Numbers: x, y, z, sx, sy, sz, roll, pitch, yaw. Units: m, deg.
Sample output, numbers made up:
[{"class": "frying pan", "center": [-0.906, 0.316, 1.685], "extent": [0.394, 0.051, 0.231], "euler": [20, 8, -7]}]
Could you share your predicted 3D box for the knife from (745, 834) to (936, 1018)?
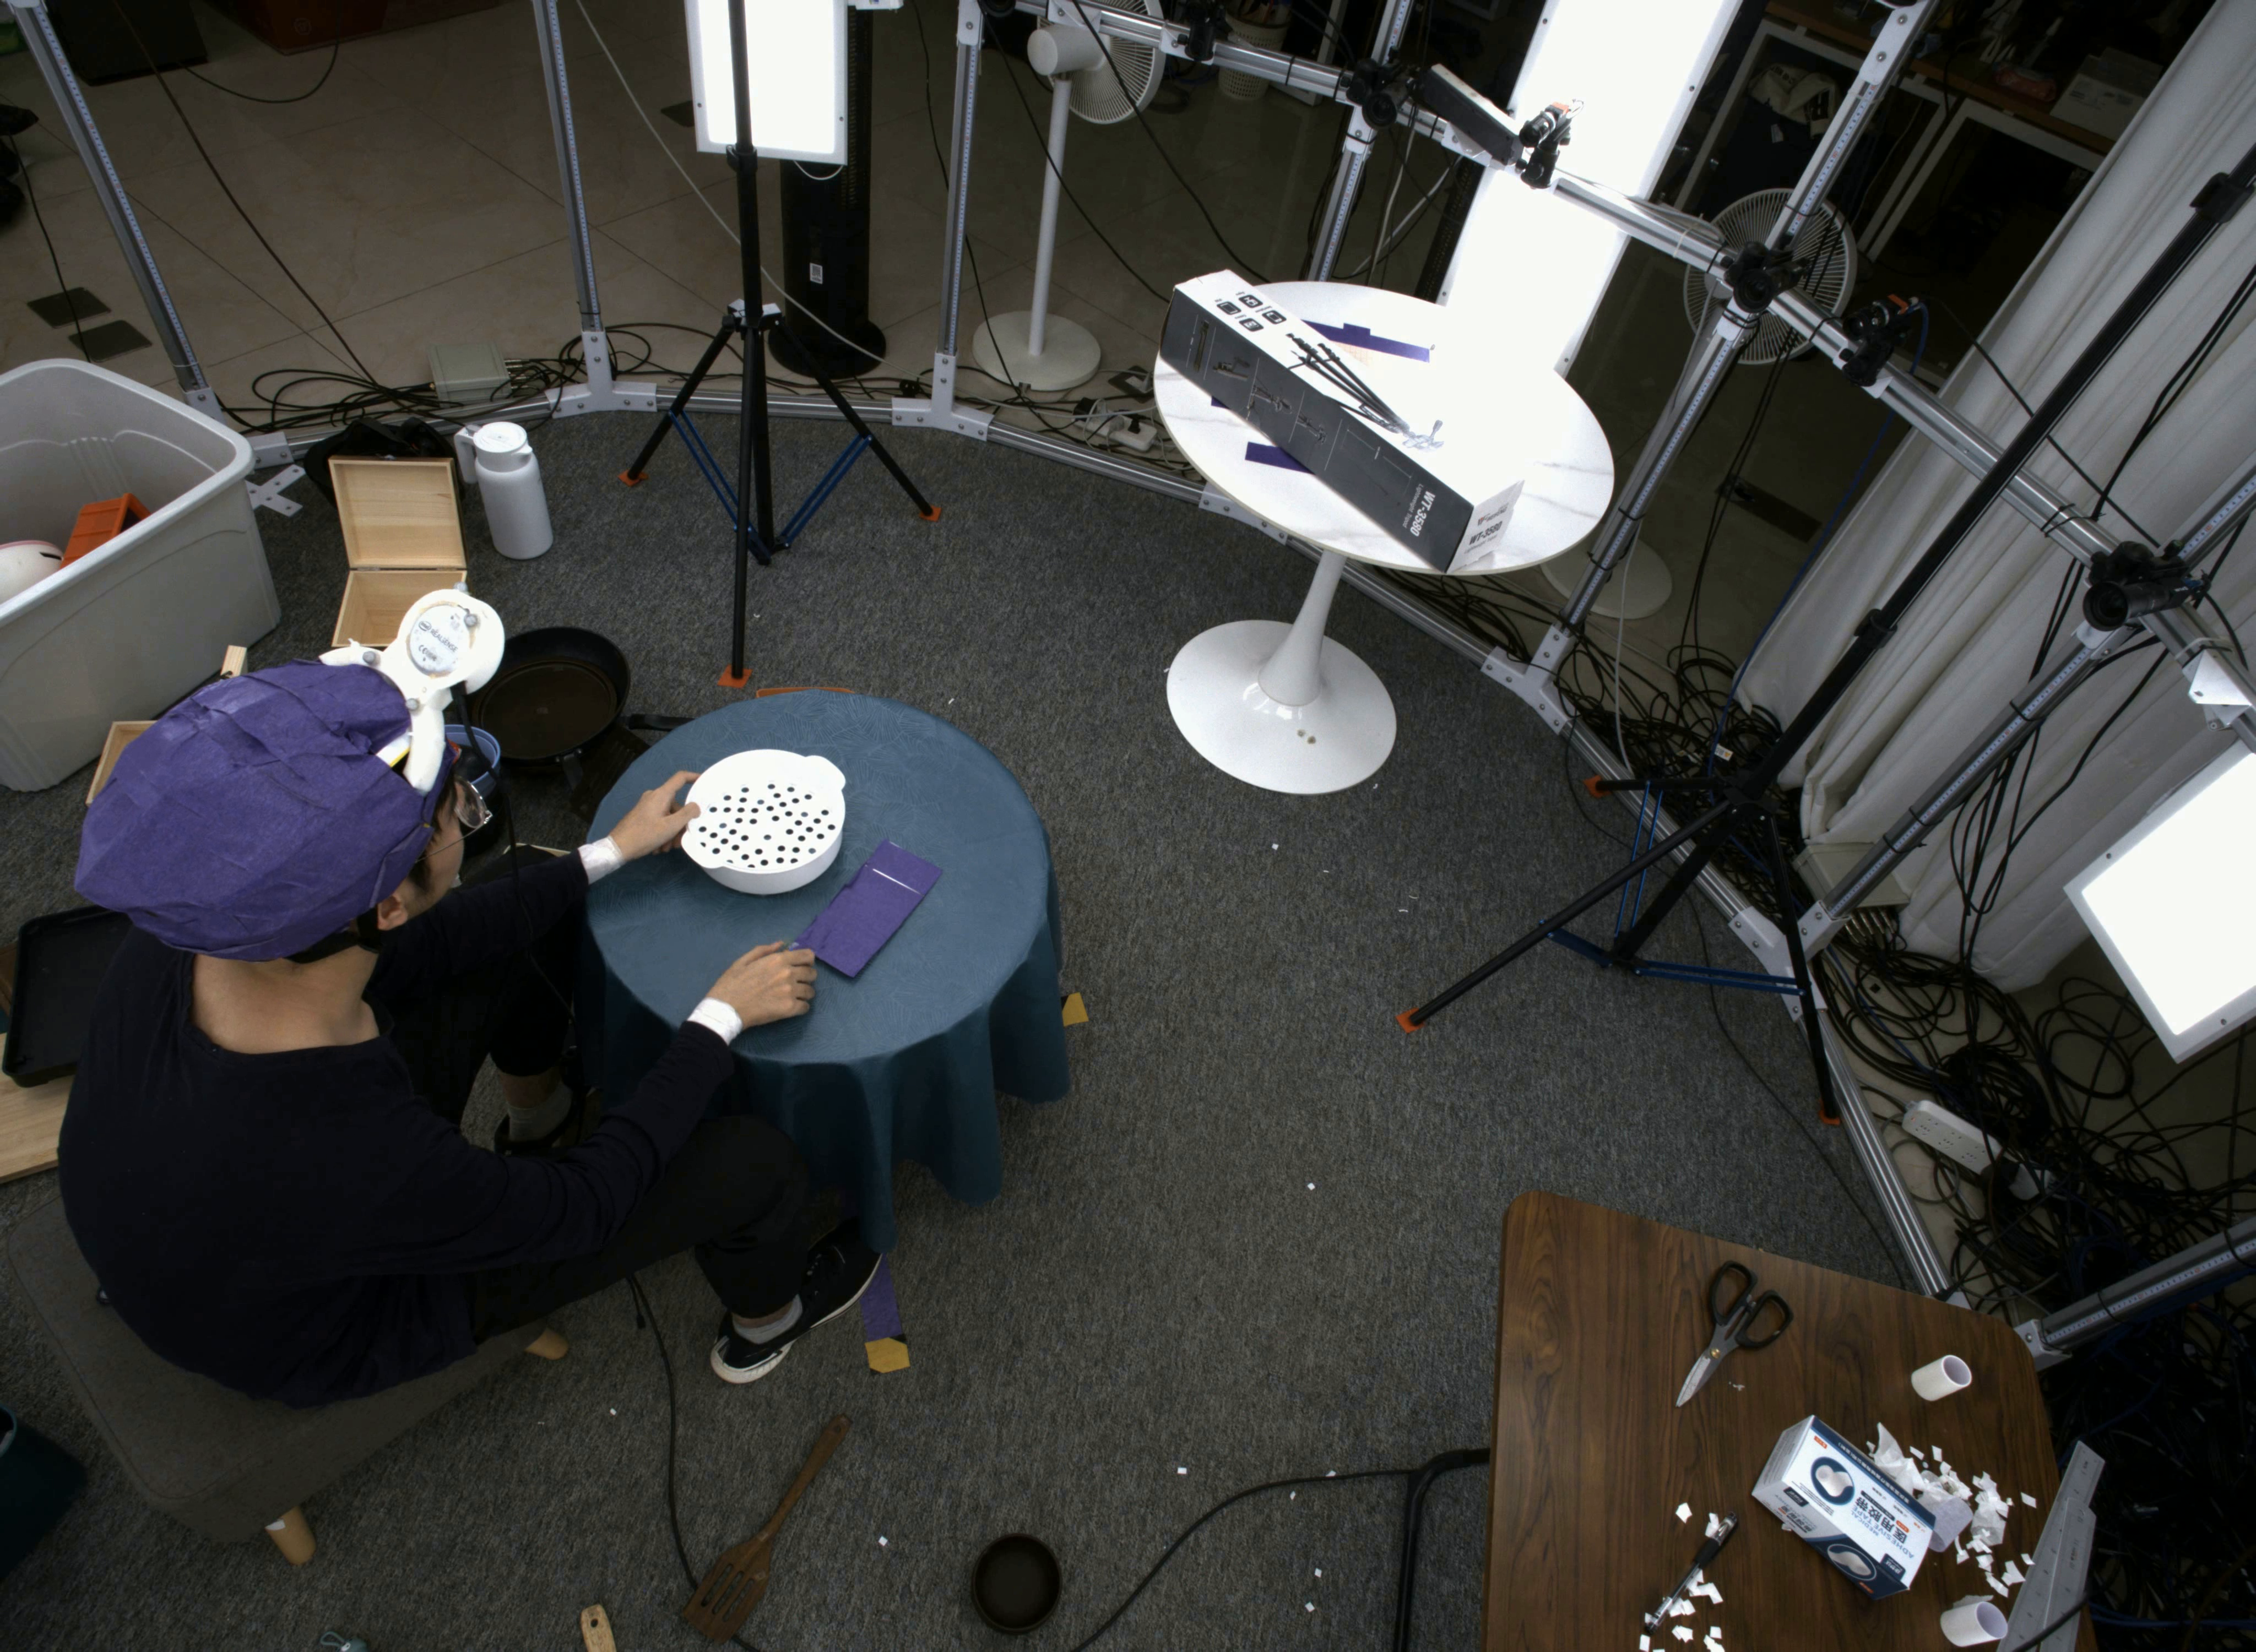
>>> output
[{"class": "knife", "center": [-0.353, 0.129, 1.640], "extent": [0.102, 0.033, 0.314], "euler": [28, 52, 8]}]

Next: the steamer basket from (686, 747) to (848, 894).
[{"class": "steamer basket", "center": [-0.465, -0.006, 1.688], "extent": [0.197, 0.071, 0.231], "euler": [40, 58, 17]}]
